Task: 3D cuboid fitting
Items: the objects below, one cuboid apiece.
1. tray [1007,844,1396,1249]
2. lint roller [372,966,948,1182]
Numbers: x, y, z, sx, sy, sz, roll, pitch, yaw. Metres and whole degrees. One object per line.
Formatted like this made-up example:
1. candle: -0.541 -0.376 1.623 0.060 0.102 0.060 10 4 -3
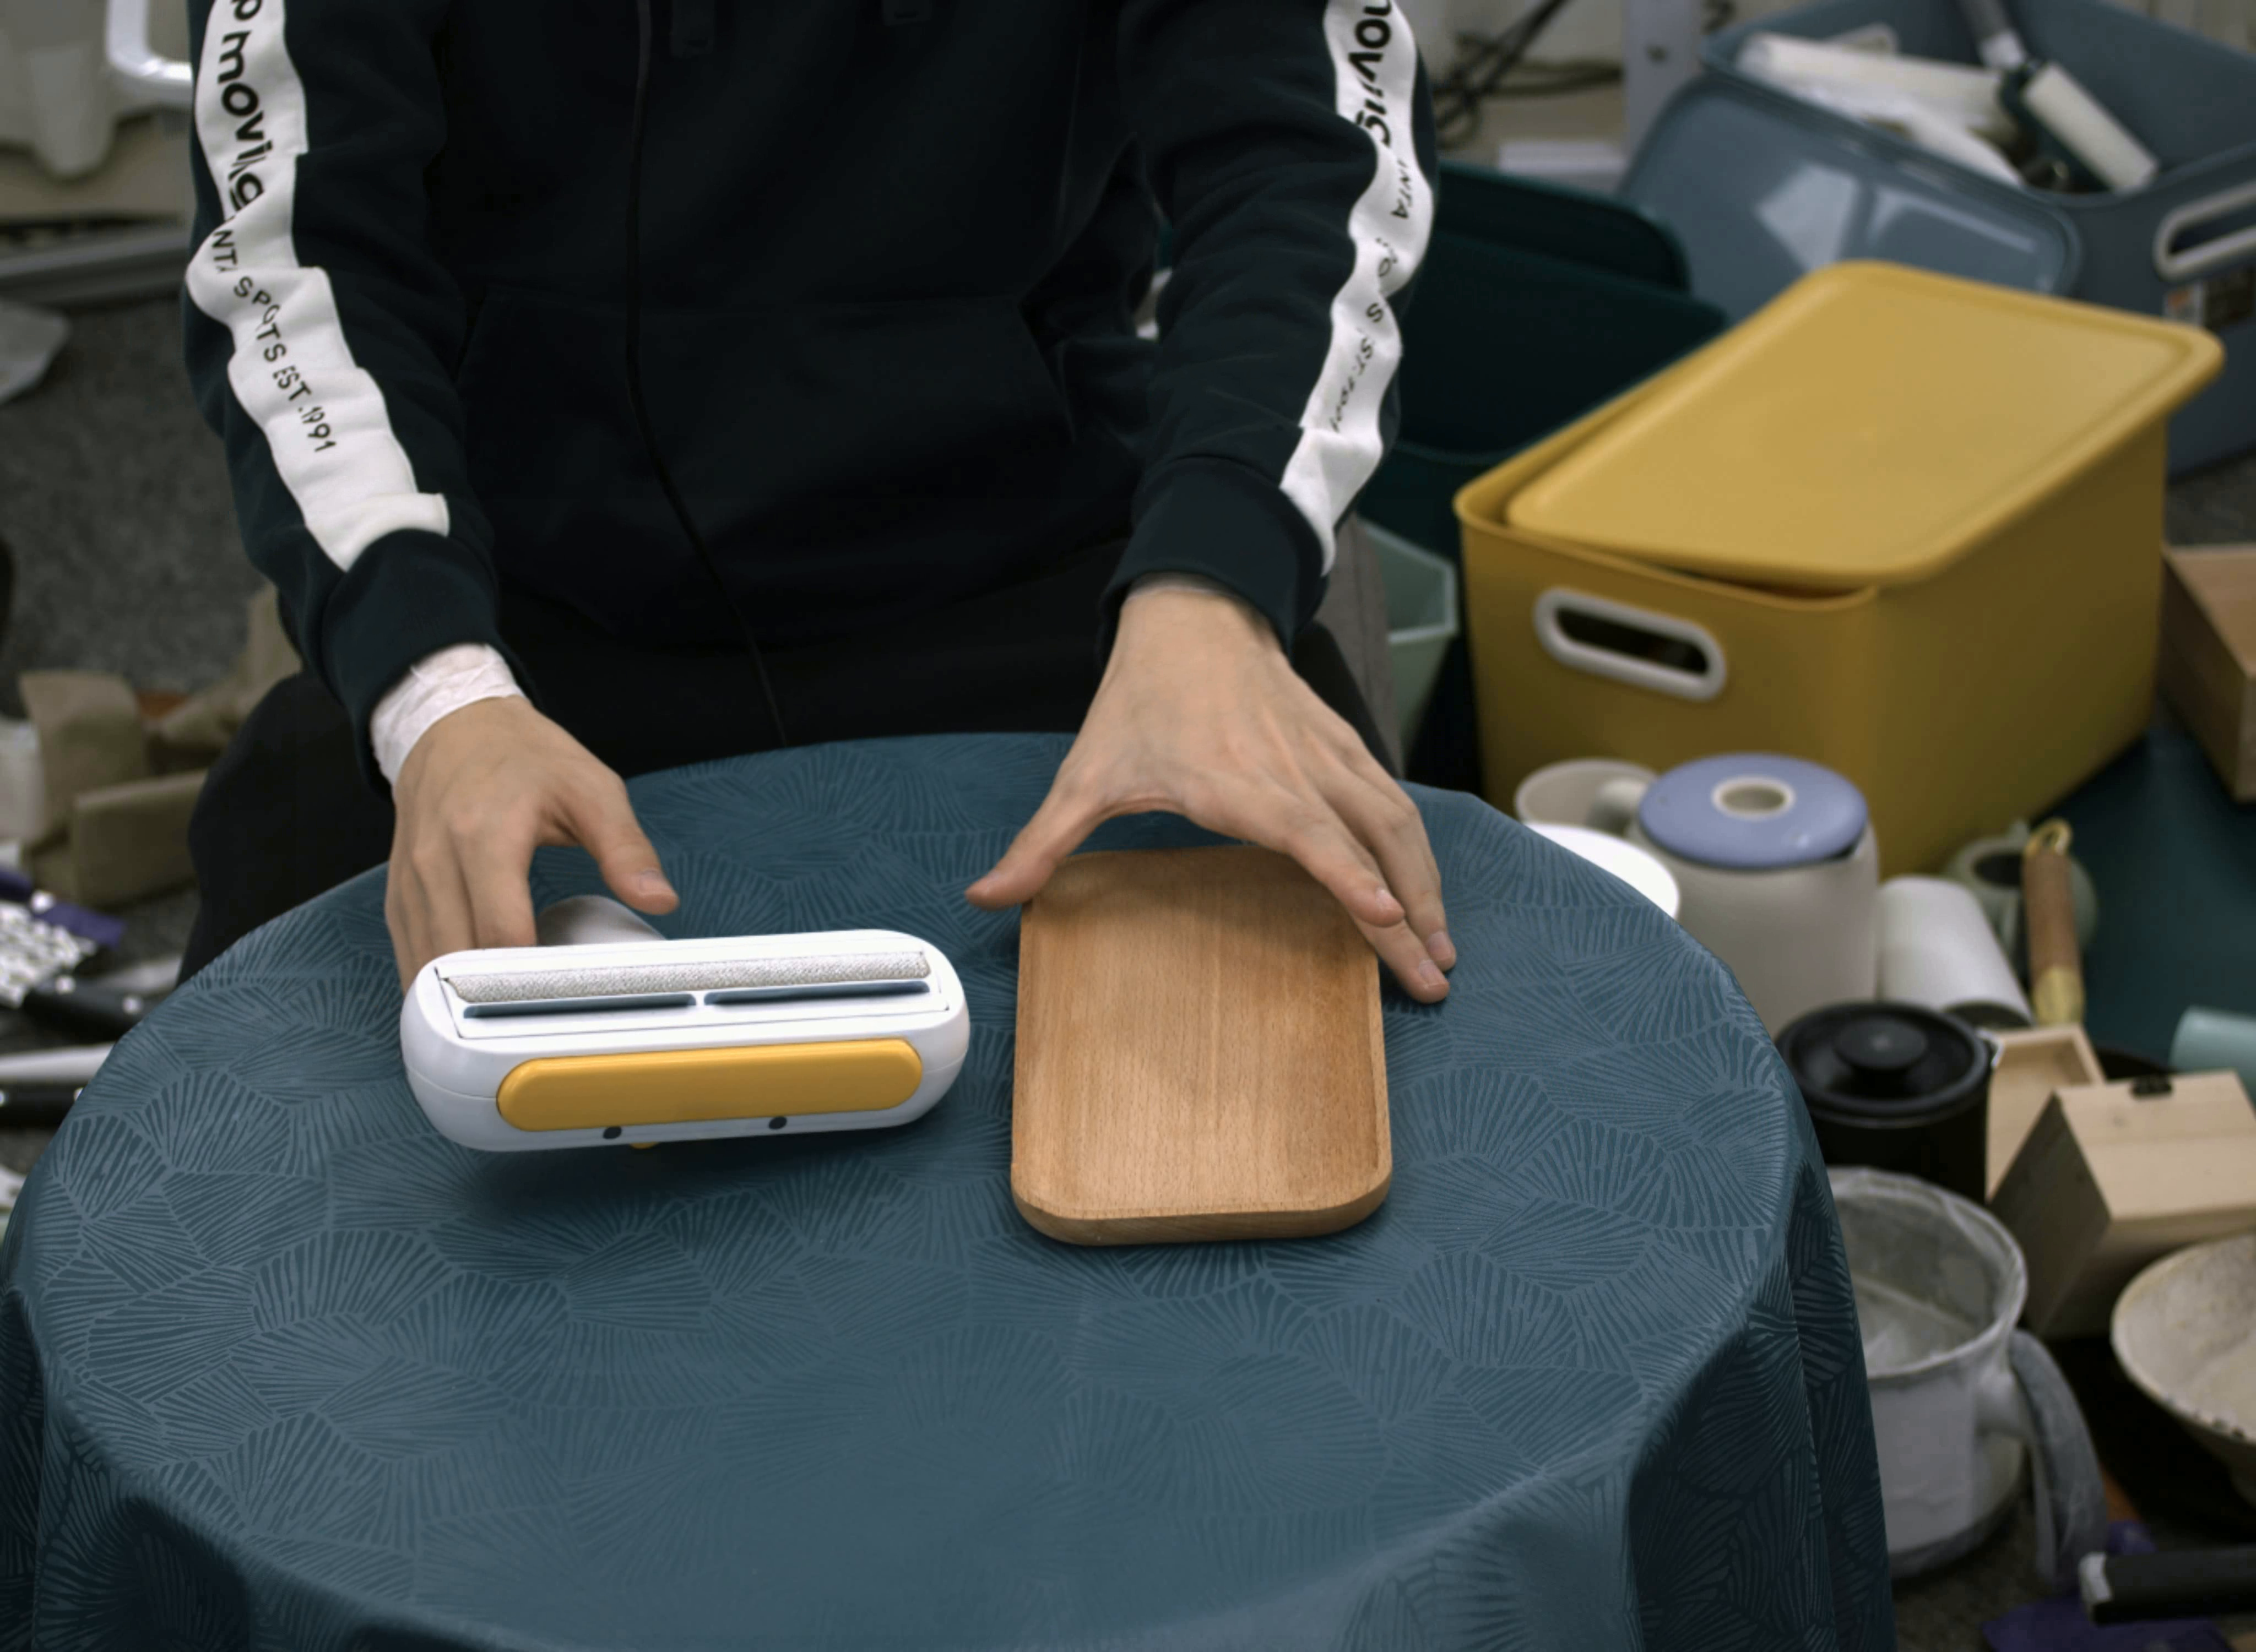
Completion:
1. tray: 0.025 0.073 1.933 0.130 0.022 0.254 0 27 1
2. lint roller: -0.169 0.073 1.937 0.193 0.074 0.193 -3 12 -14
